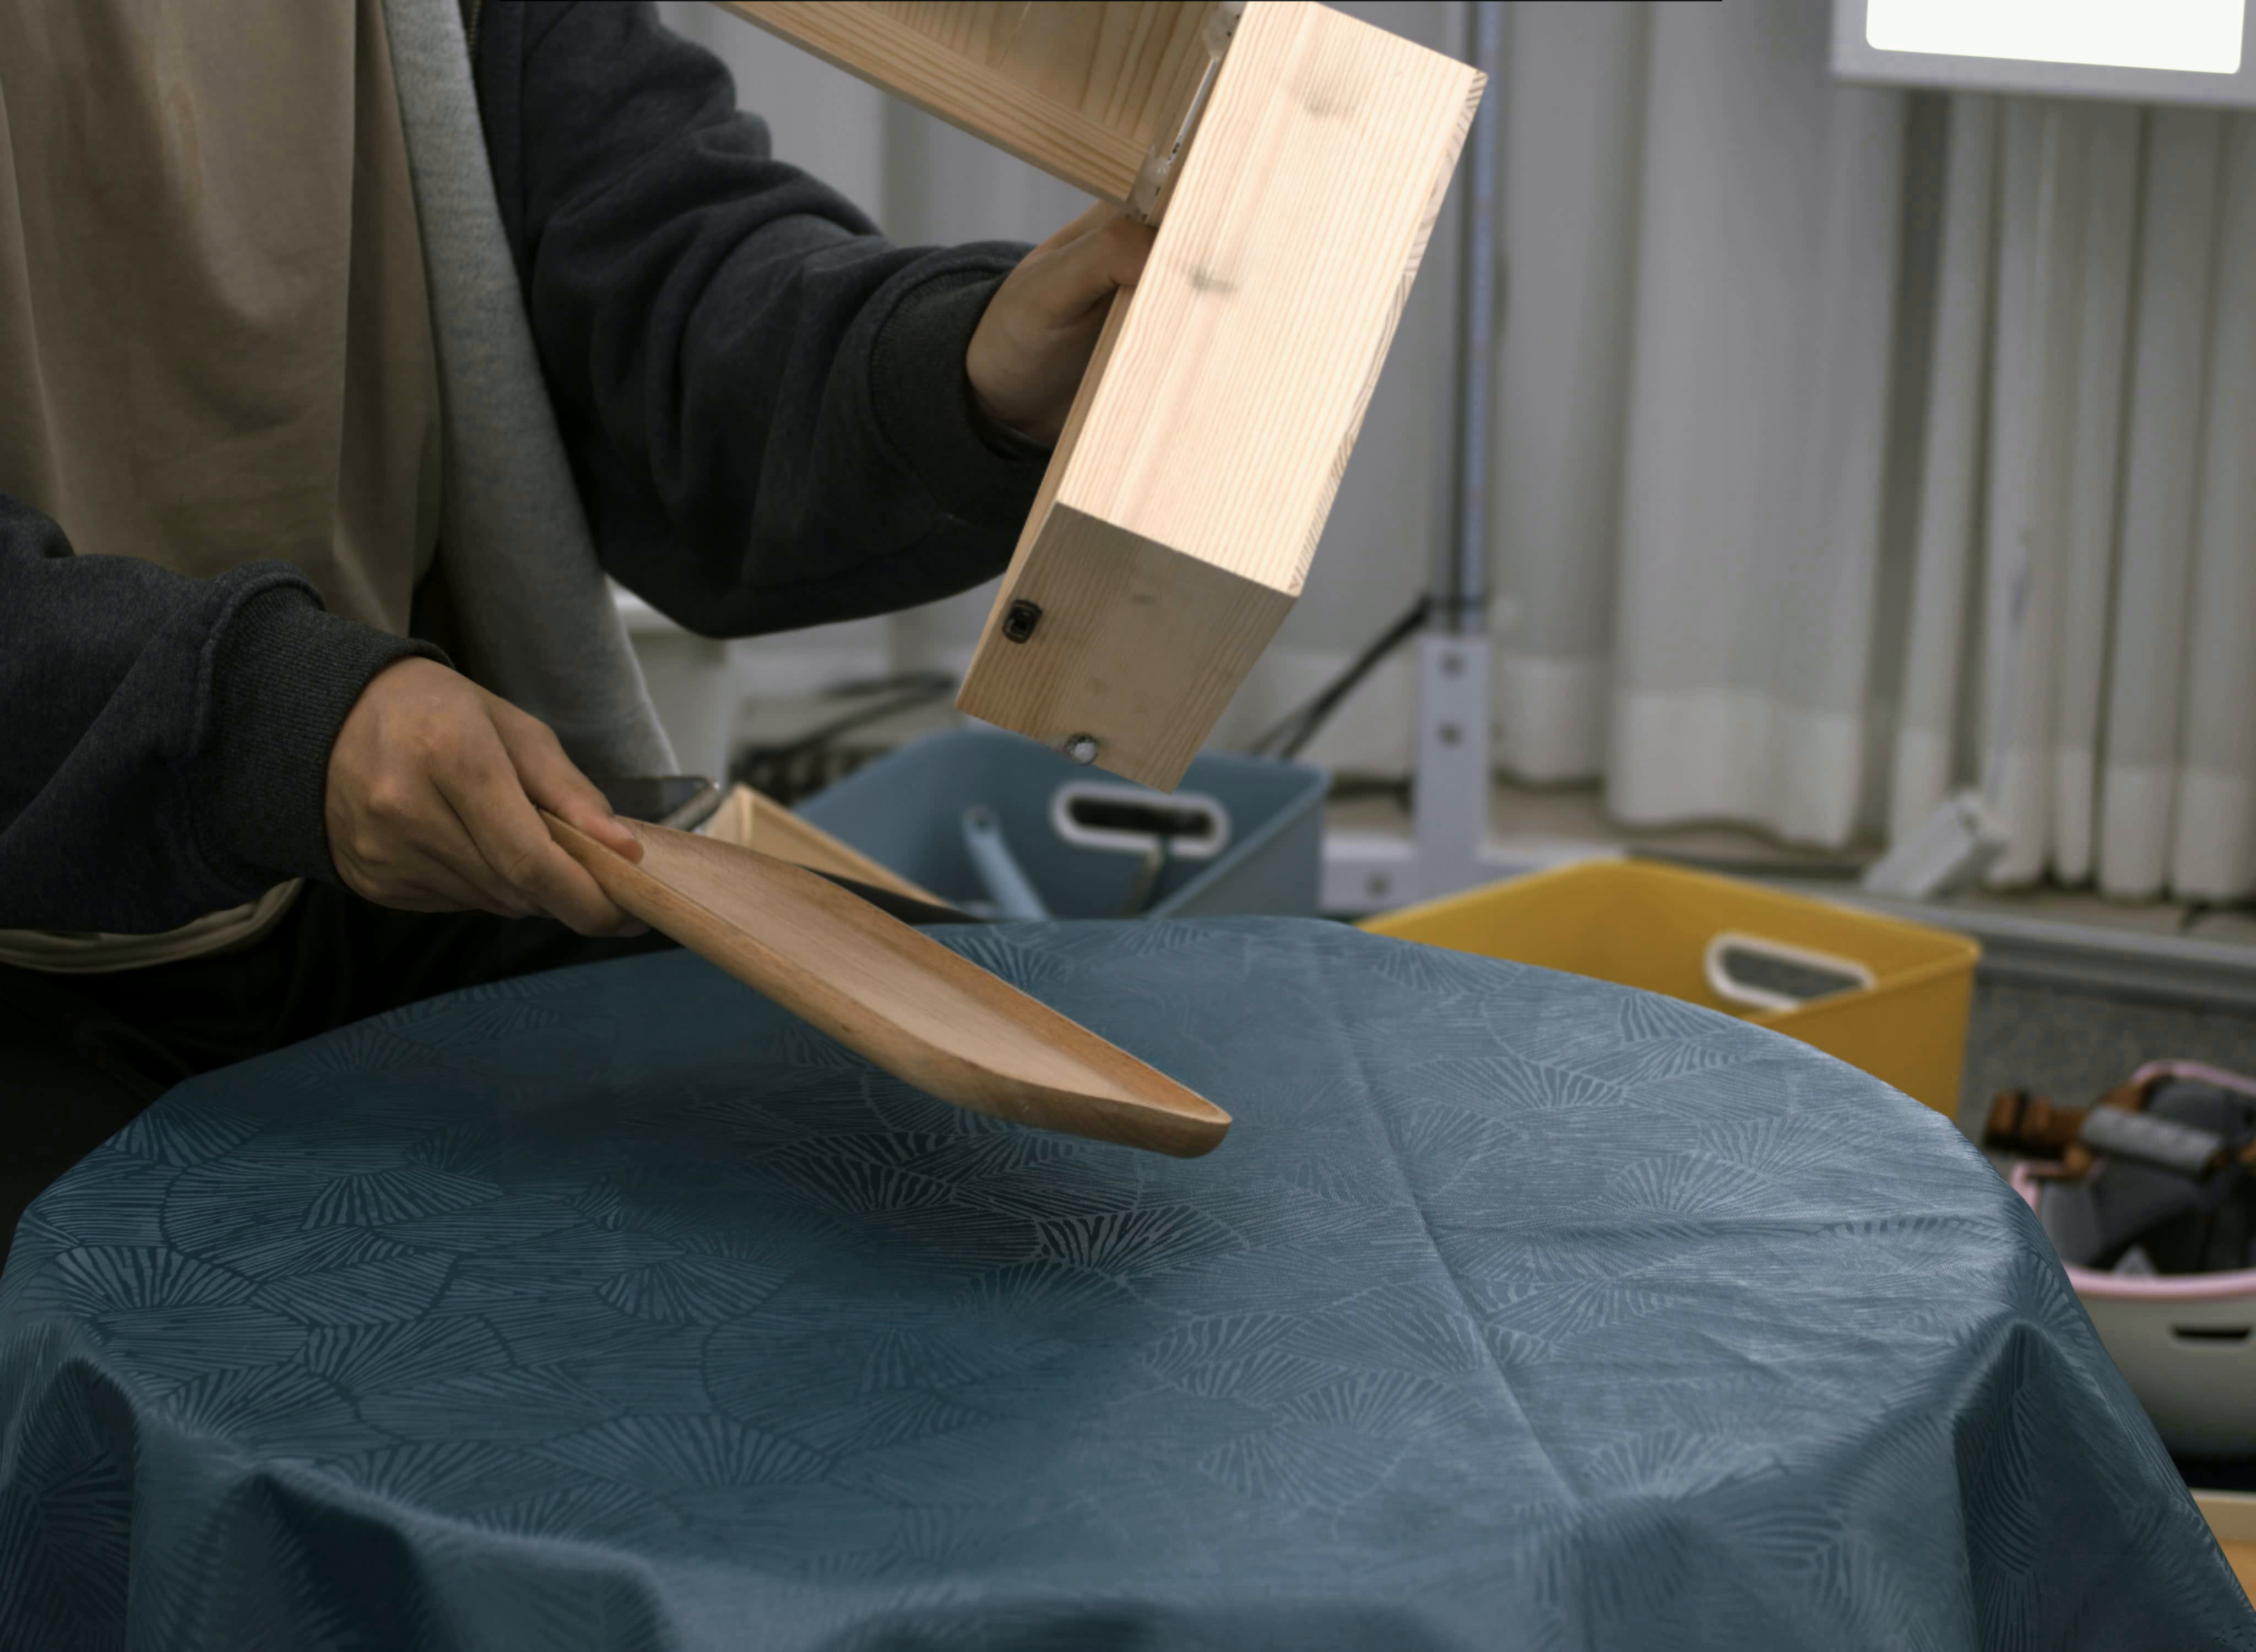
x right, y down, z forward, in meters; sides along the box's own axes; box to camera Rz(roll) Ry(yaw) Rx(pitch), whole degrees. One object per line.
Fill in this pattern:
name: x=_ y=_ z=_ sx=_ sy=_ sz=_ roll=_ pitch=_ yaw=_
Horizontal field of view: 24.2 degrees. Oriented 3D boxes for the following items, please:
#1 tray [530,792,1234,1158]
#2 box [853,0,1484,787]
tray: x=-0.080 y=0.045 z=1.623 sx=0.132 sy=0.023 sz=0.247 roll=19 pitch=6 yaw=-43
box: x=-0.046 y=-0.195 z=1.590 sx=0.253 sy=0.264 sz=0.182 roll=23 pitch=-22 yaw=-7
